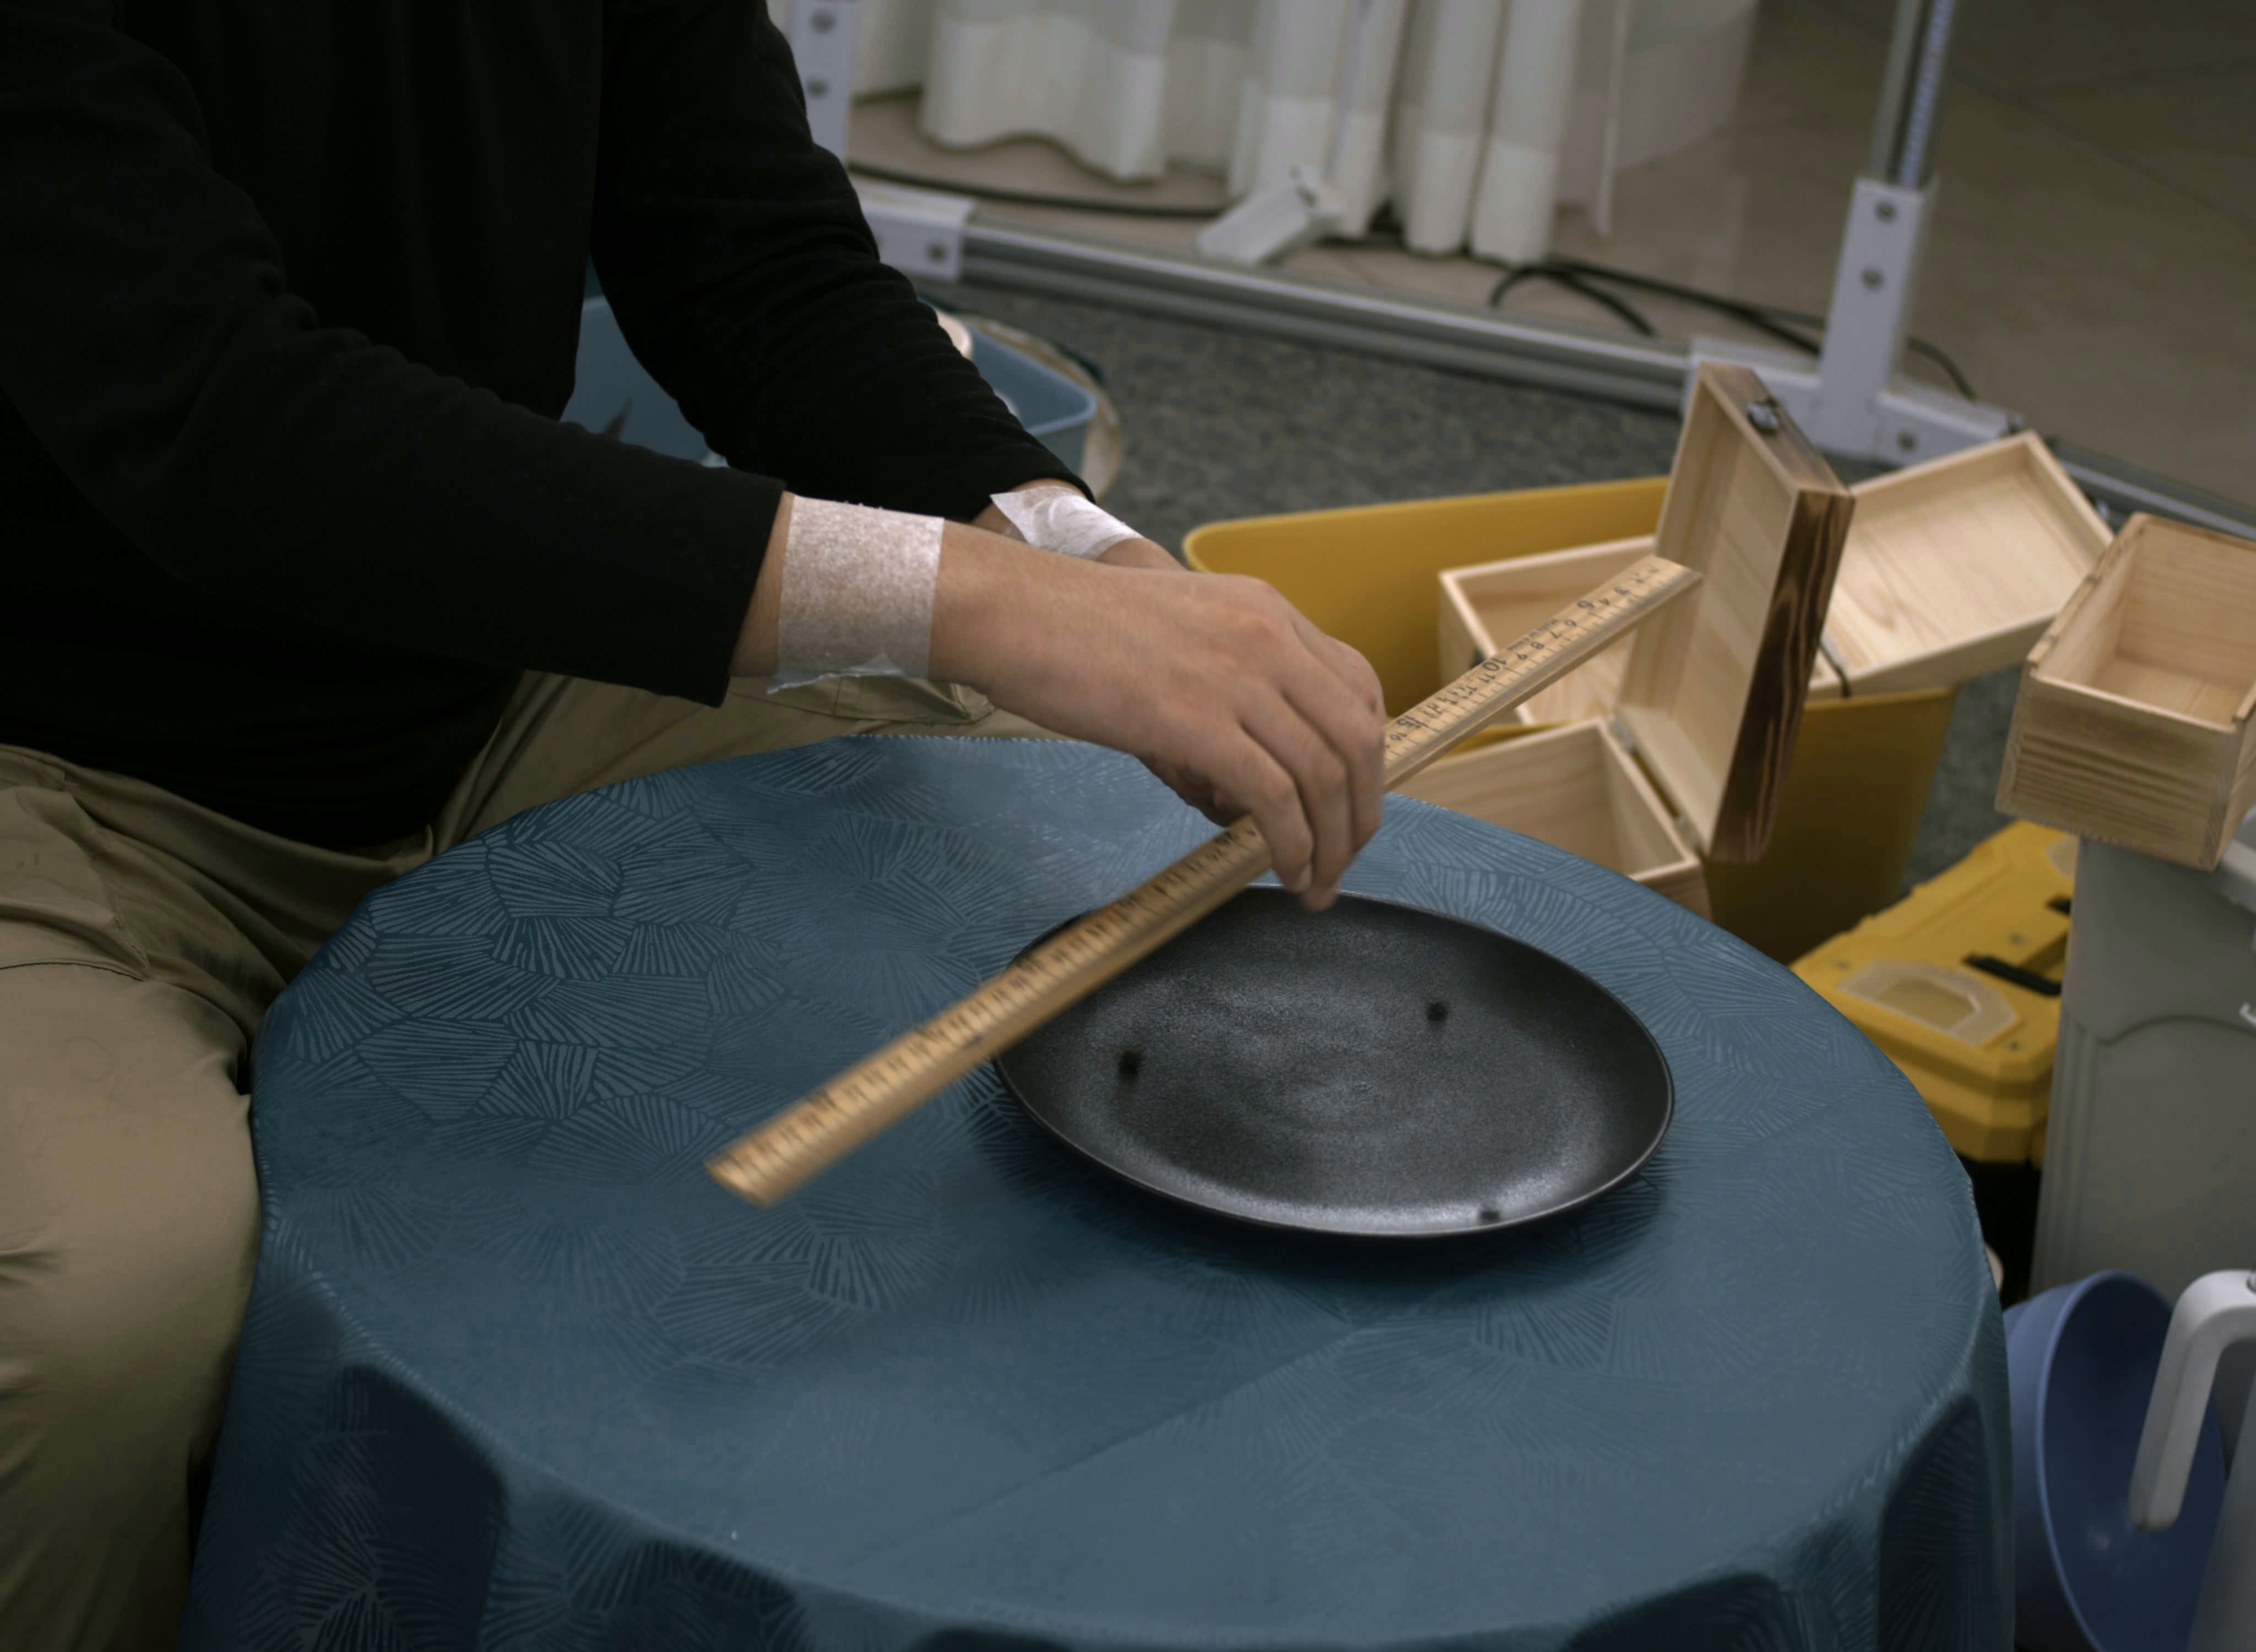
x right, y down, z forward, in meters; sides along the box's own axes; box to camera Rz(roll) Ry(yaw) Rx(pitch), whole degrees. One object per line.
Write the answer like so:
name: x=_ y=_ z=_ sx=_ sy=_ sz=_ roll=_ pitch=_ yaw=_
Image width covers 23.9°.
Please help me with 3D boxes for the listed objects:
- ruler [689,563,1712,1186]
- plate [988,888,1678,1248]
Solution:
ruler: x=0.038 y=0.007 z=1.826 sx=0.027 sy=0.006 sz=0.499 roll=24 pitch=40 yaw=37
plate: x=0.071 y=0.088 z=1.862 sx=0.243 sy=0.023 sz=0.246 roll=5 pitch=27 yaw=-3
